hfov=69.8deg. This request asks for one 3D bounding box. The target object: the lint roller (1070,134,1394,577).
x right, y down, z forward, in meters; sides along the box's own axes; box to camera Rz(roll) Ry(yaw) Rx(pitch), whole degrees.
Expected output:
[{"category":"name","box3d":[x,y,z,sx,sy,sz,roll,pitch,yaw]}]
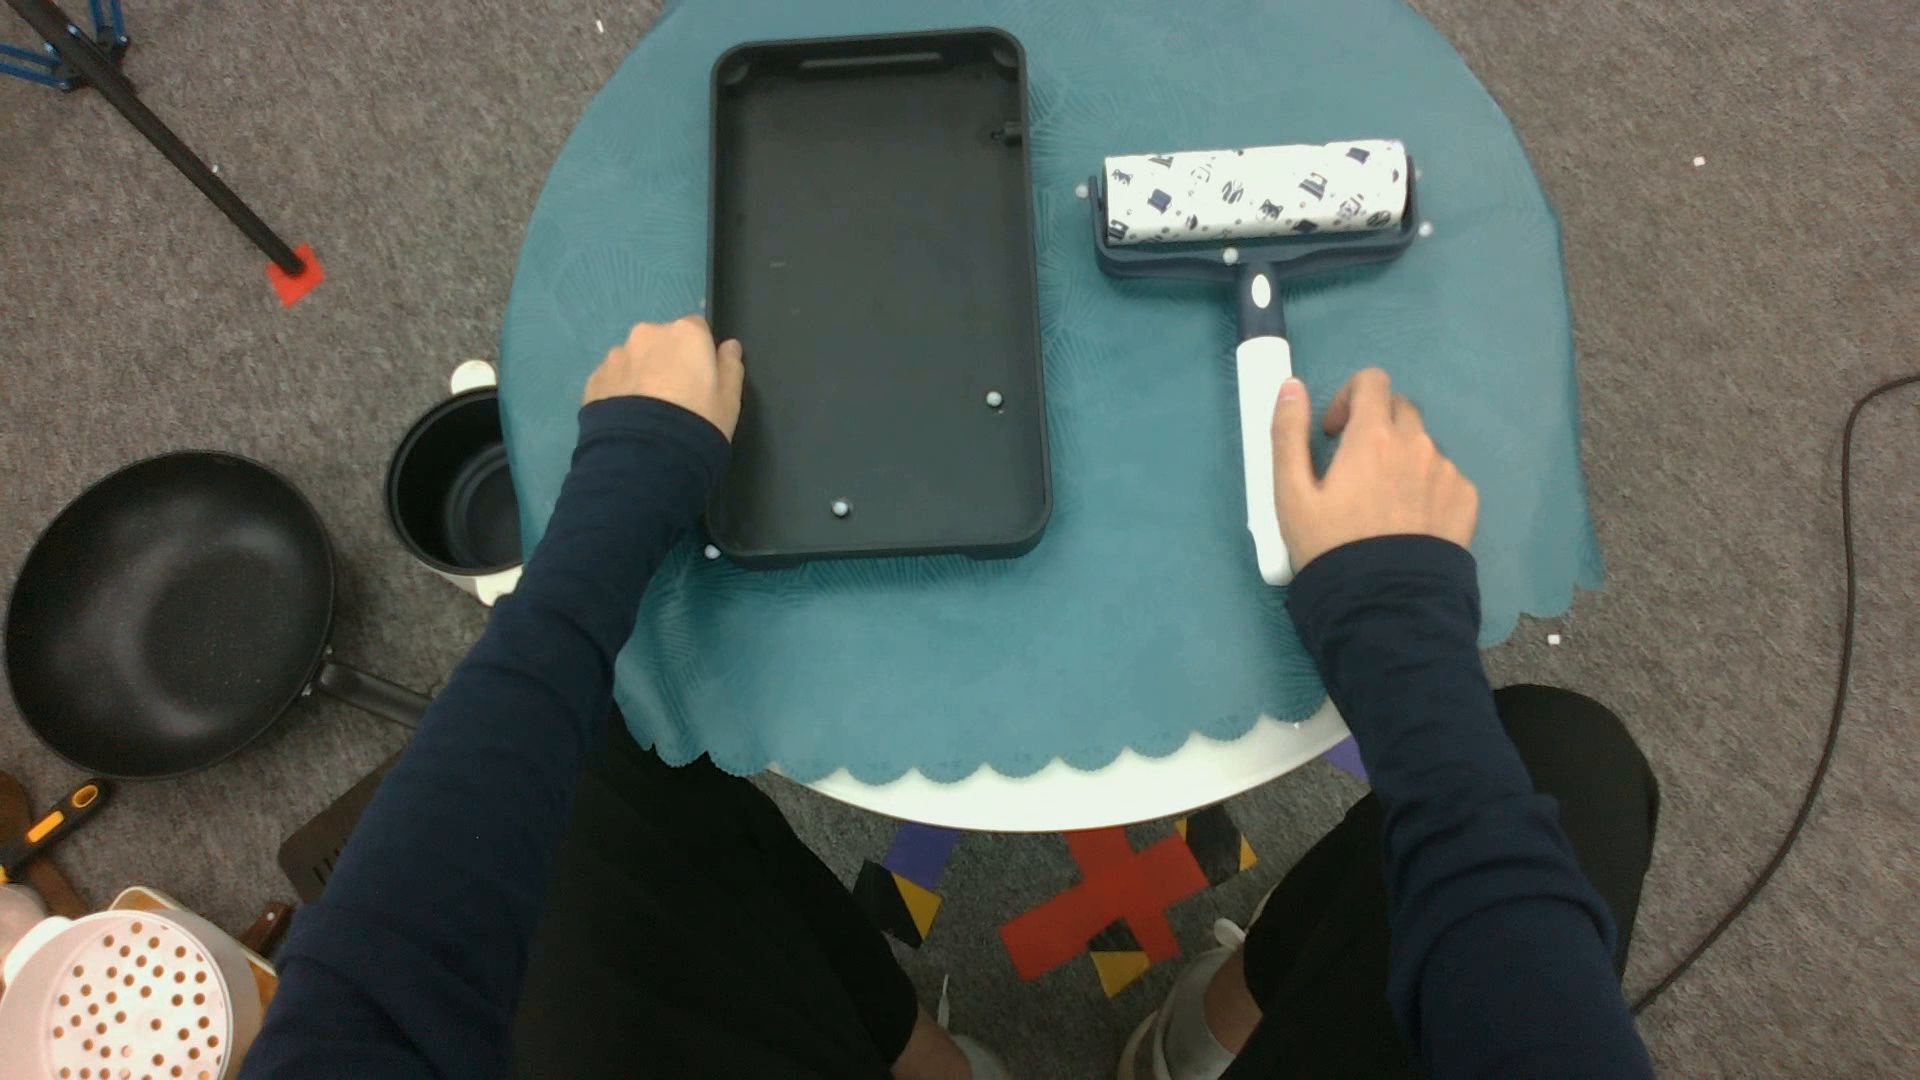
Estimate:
[{"category":"lint roller","box3d":[0.155,-0.104,0.742,0.176,0.050,0.247,-3,74,1]}]

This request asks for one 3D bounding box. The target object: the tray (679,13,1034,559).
[{"category":"tray","box3d":[-0.059,-0.146,0.767,0.184,0.037,0.319,-3,72,1]}]
